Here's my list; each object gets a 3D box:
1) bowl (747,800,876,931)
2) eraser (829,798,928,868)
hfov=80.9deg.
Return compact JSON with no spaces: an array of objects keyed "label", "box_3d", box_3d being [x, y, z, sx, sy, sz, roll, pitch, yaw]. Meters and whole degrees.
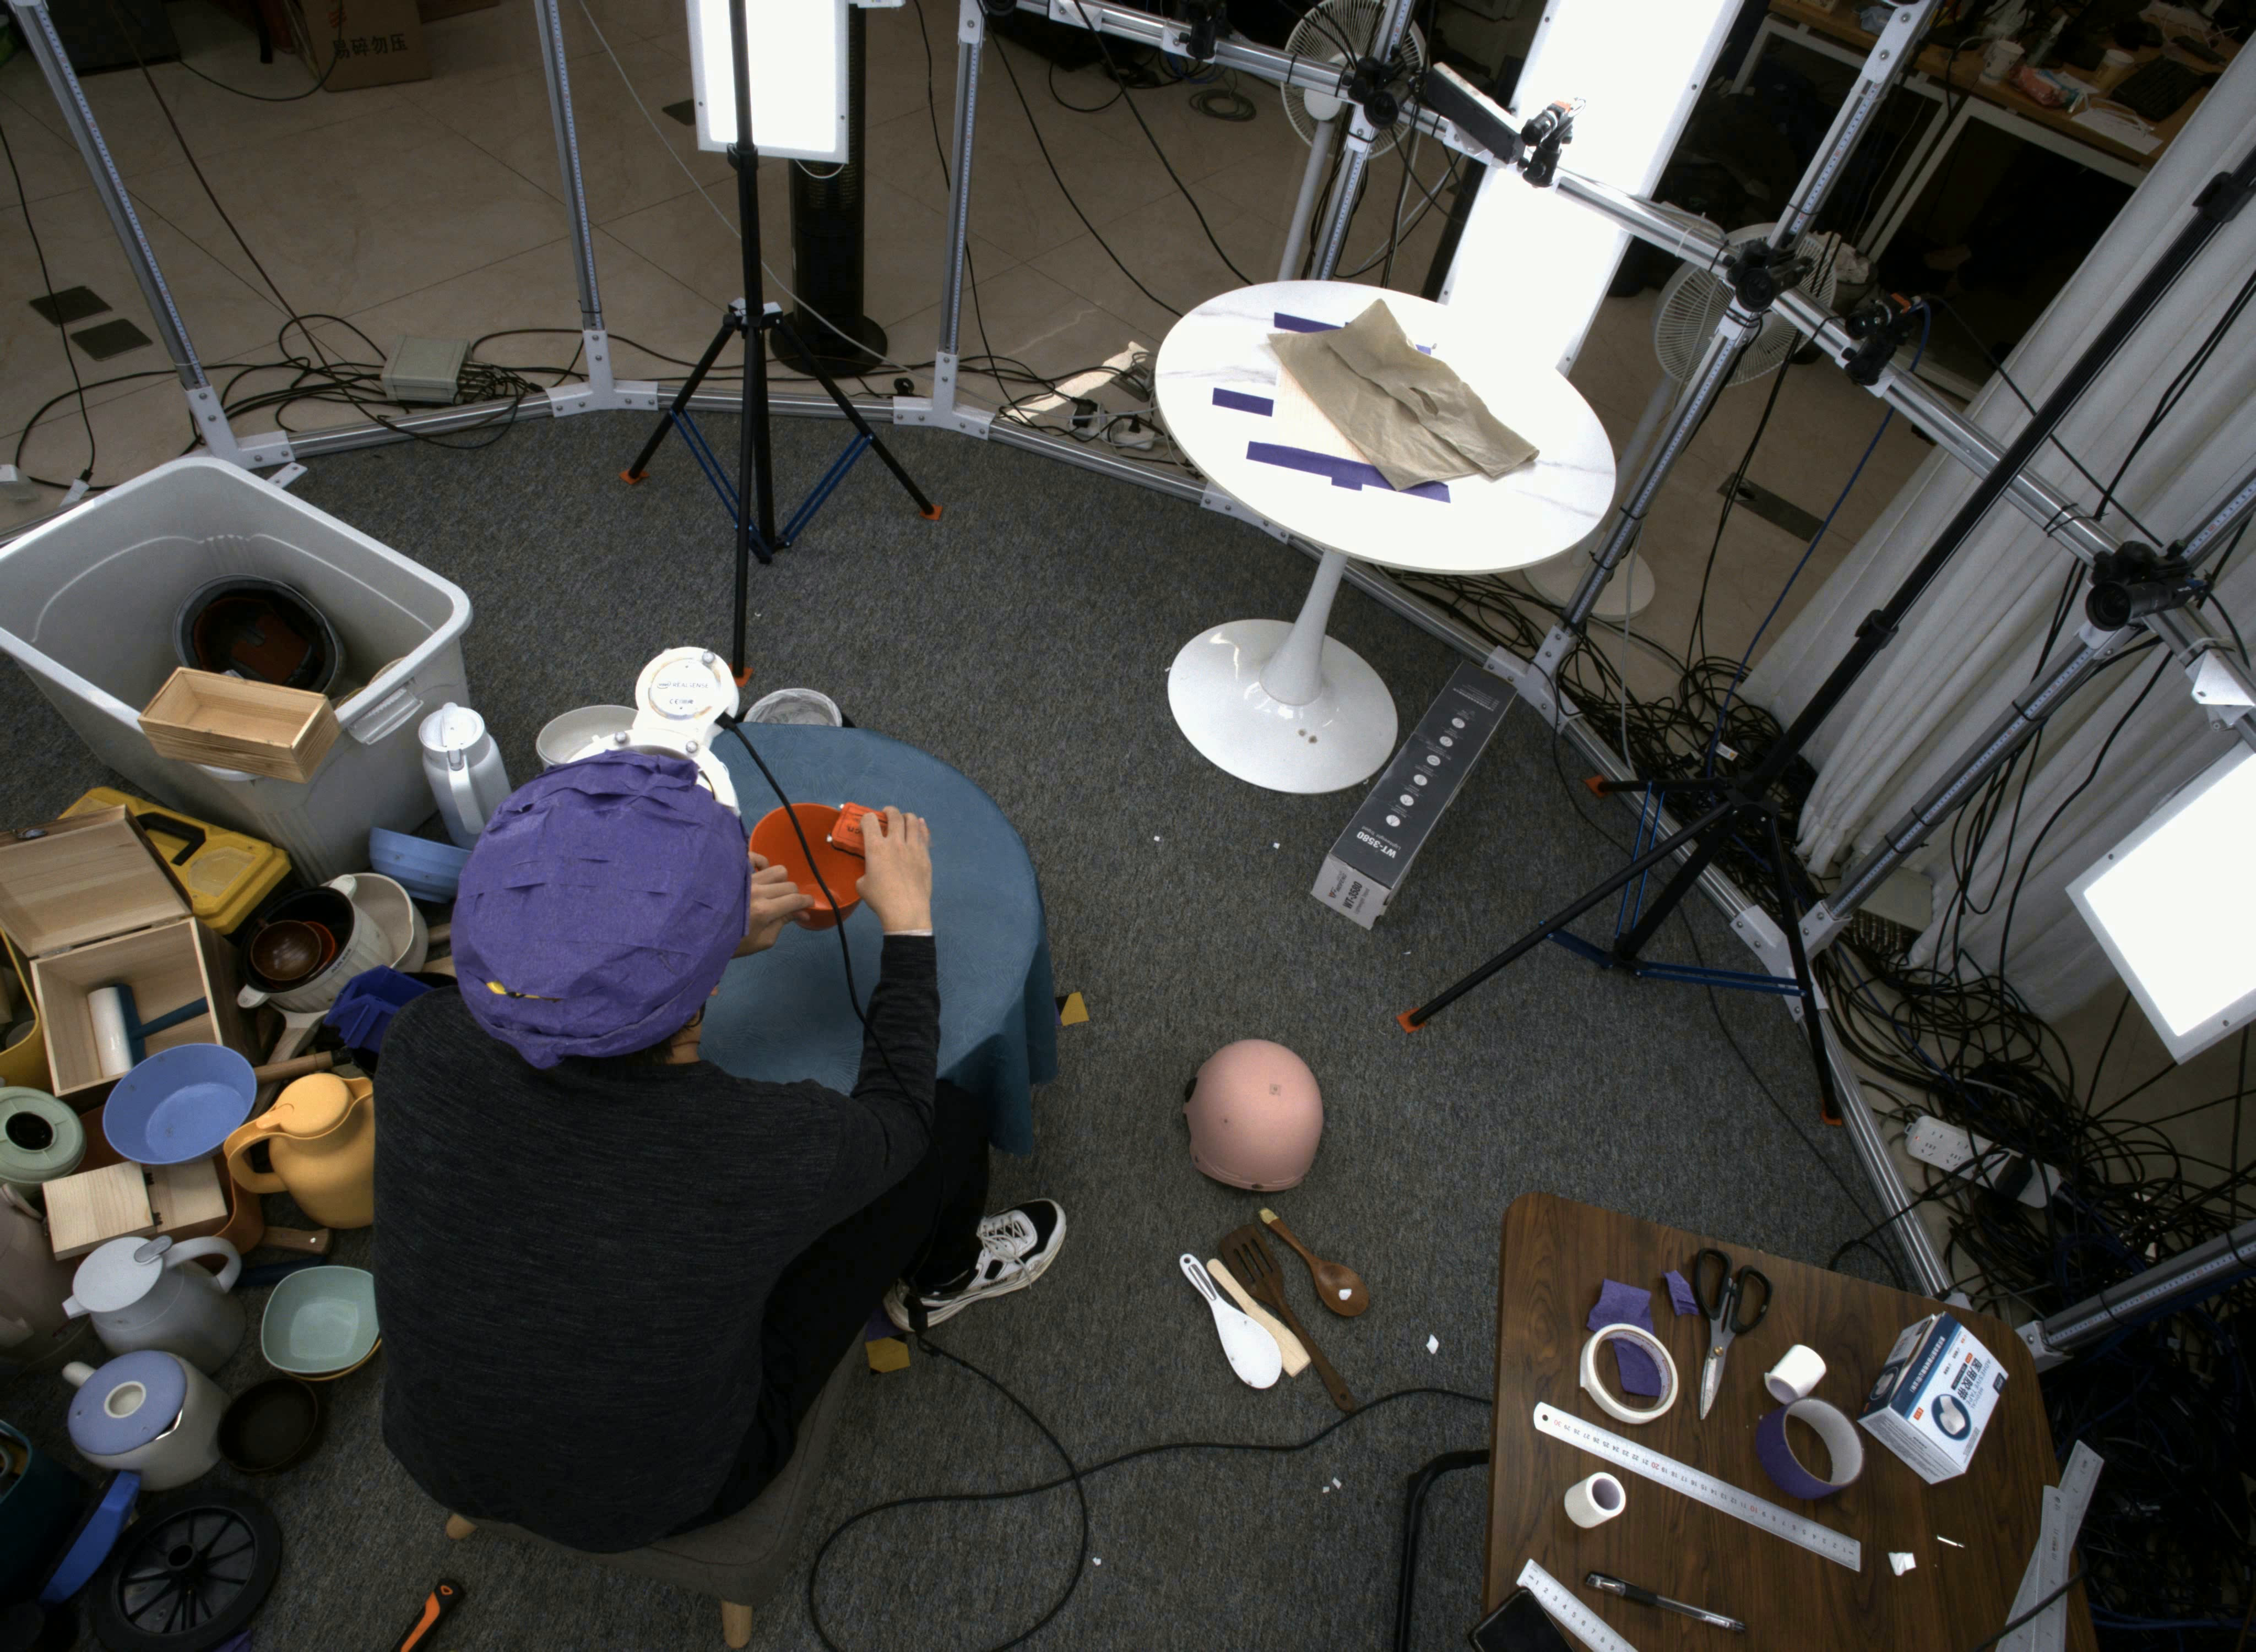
[{"label":"bowl","box_3d":[-0.374,0.056,1.524,0.148,0.106,0.145,13,45,-11]},{"label":"eraser","box_3d":[-0.293,0.008,1.527,0.108,0.023,0.058,17,56,-7]}]
